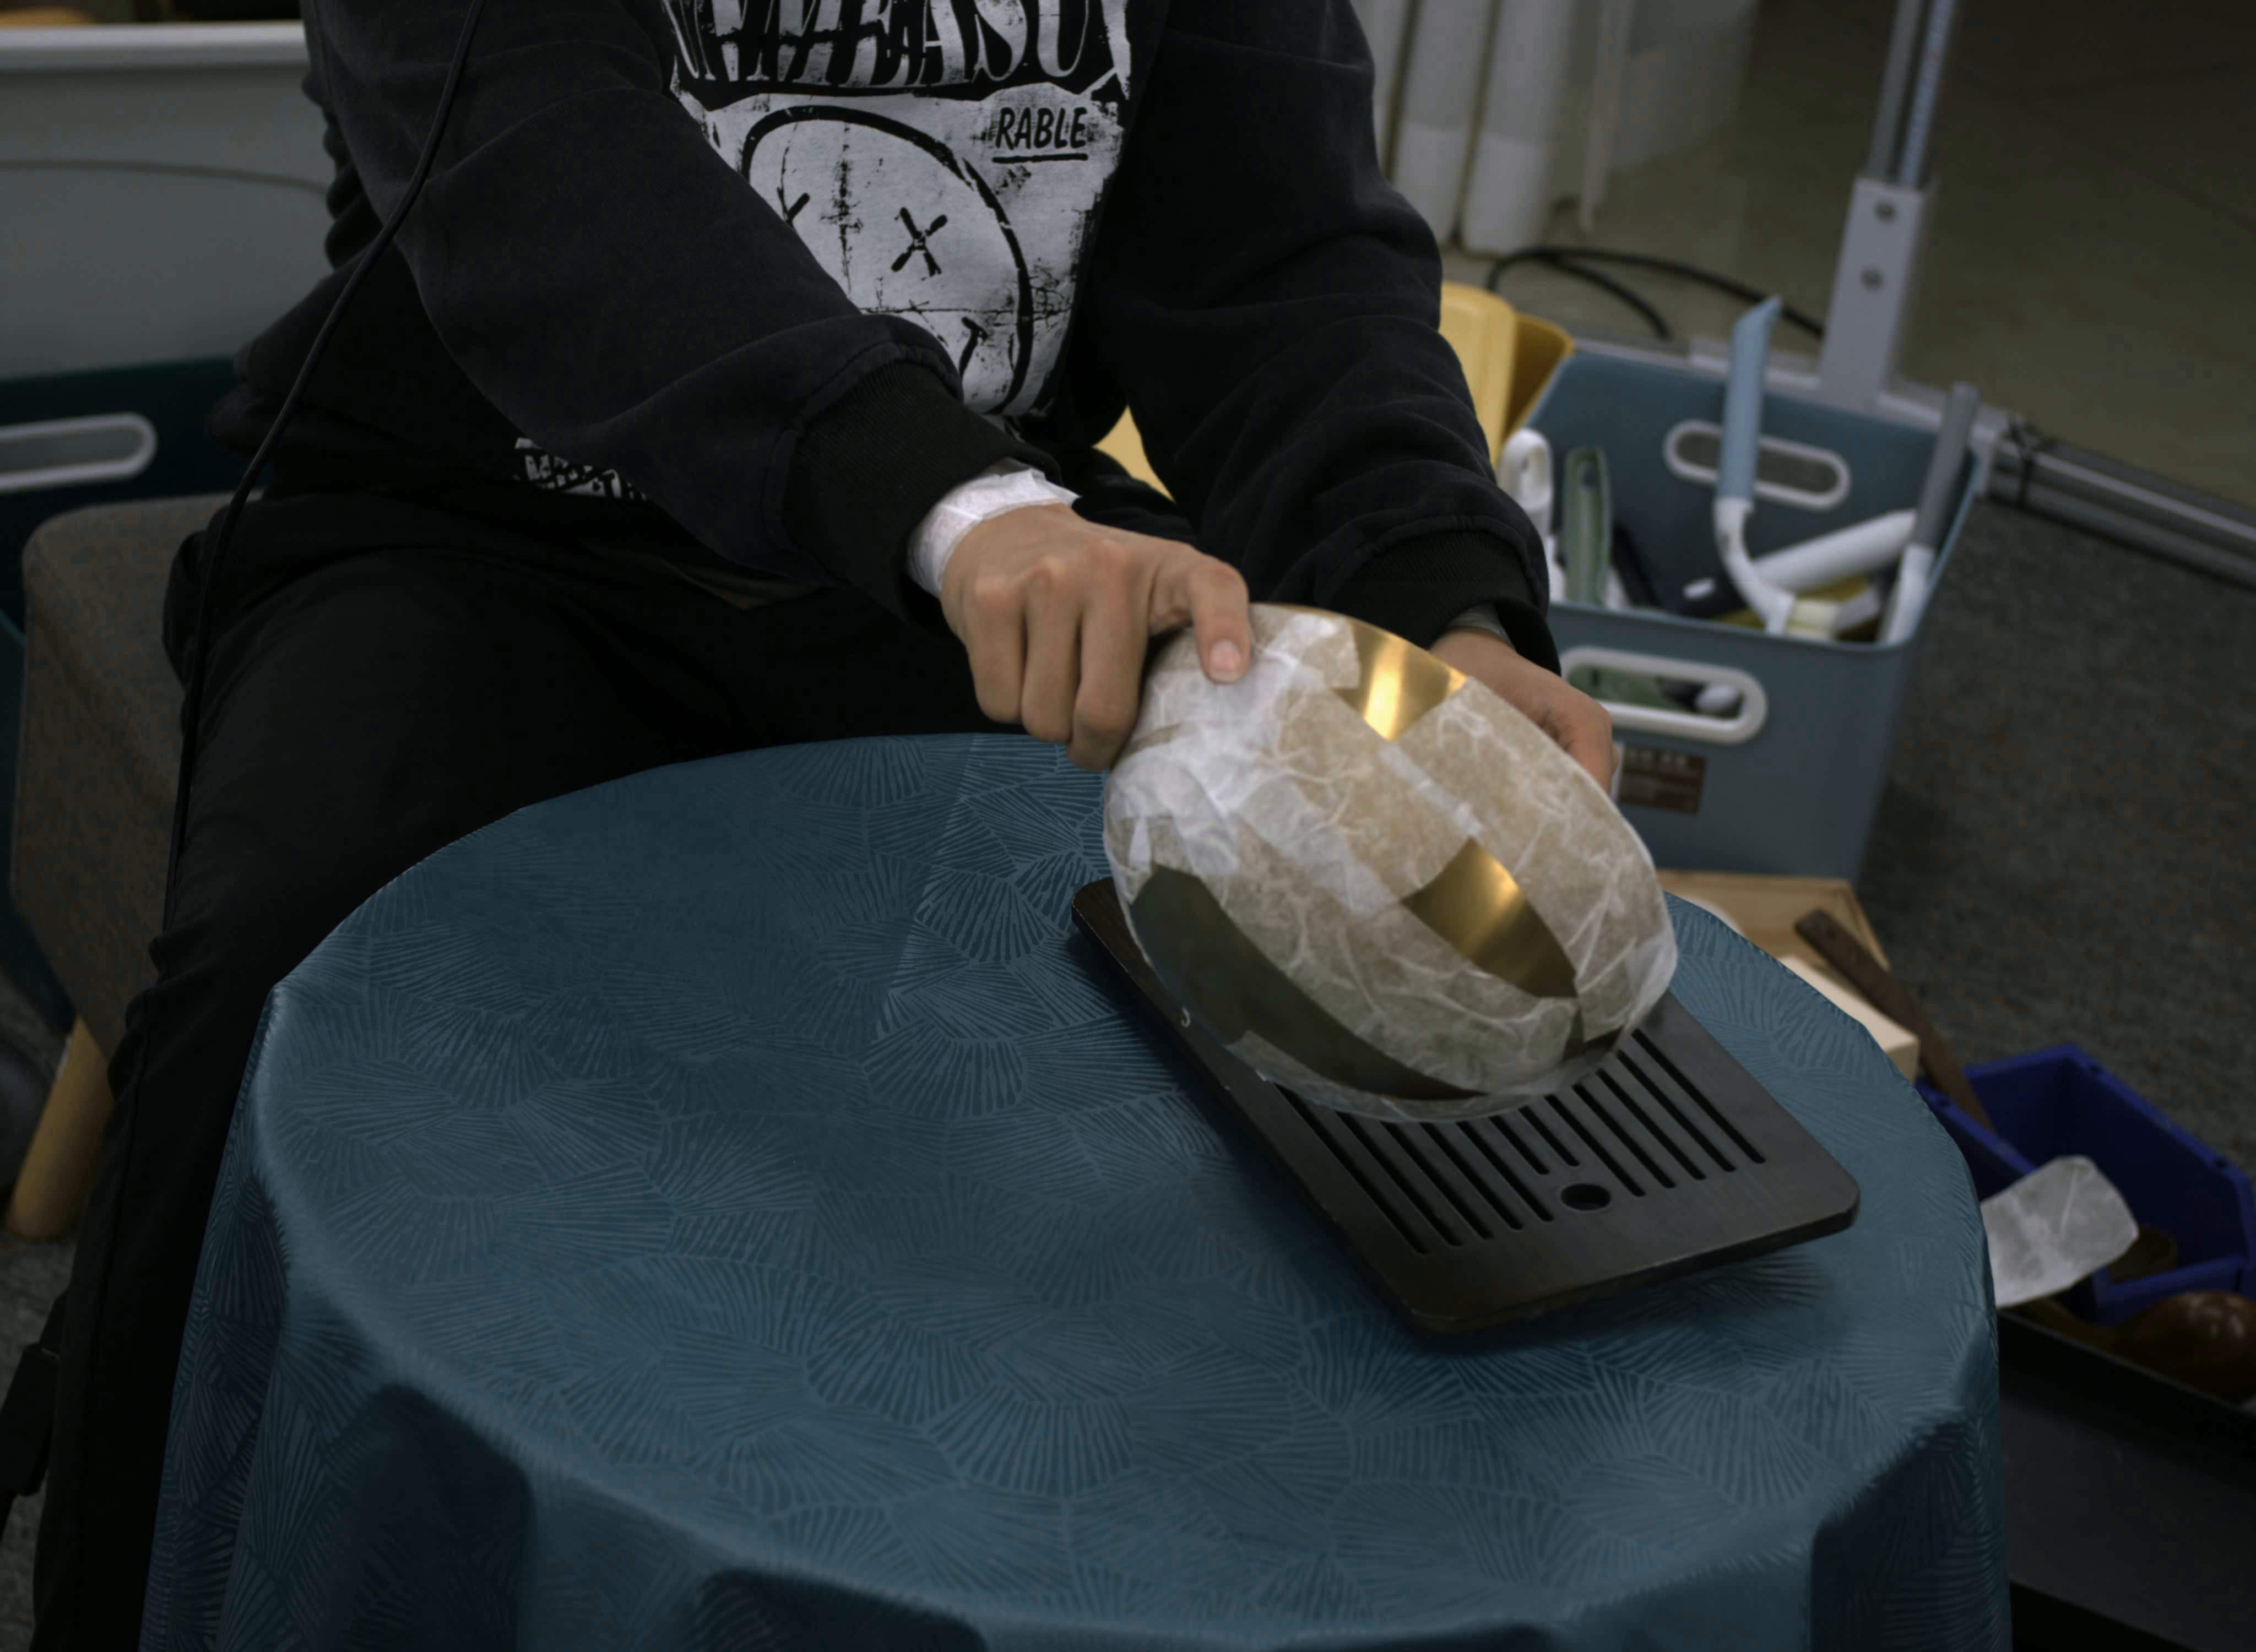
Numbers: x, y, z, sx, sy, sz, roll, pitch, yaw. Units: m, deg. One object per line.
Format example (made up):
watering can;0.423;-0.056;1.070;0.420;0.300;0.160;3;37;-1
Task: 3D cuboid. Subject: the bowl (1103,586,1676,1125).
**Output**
bowl;0.066;0.030;1.728;0.216;0.213;0.095;23;60;28

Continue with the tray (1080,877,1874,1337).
tray;0.116;0.082;1.867;0.169;0.018;0.309;-13;32;-19
